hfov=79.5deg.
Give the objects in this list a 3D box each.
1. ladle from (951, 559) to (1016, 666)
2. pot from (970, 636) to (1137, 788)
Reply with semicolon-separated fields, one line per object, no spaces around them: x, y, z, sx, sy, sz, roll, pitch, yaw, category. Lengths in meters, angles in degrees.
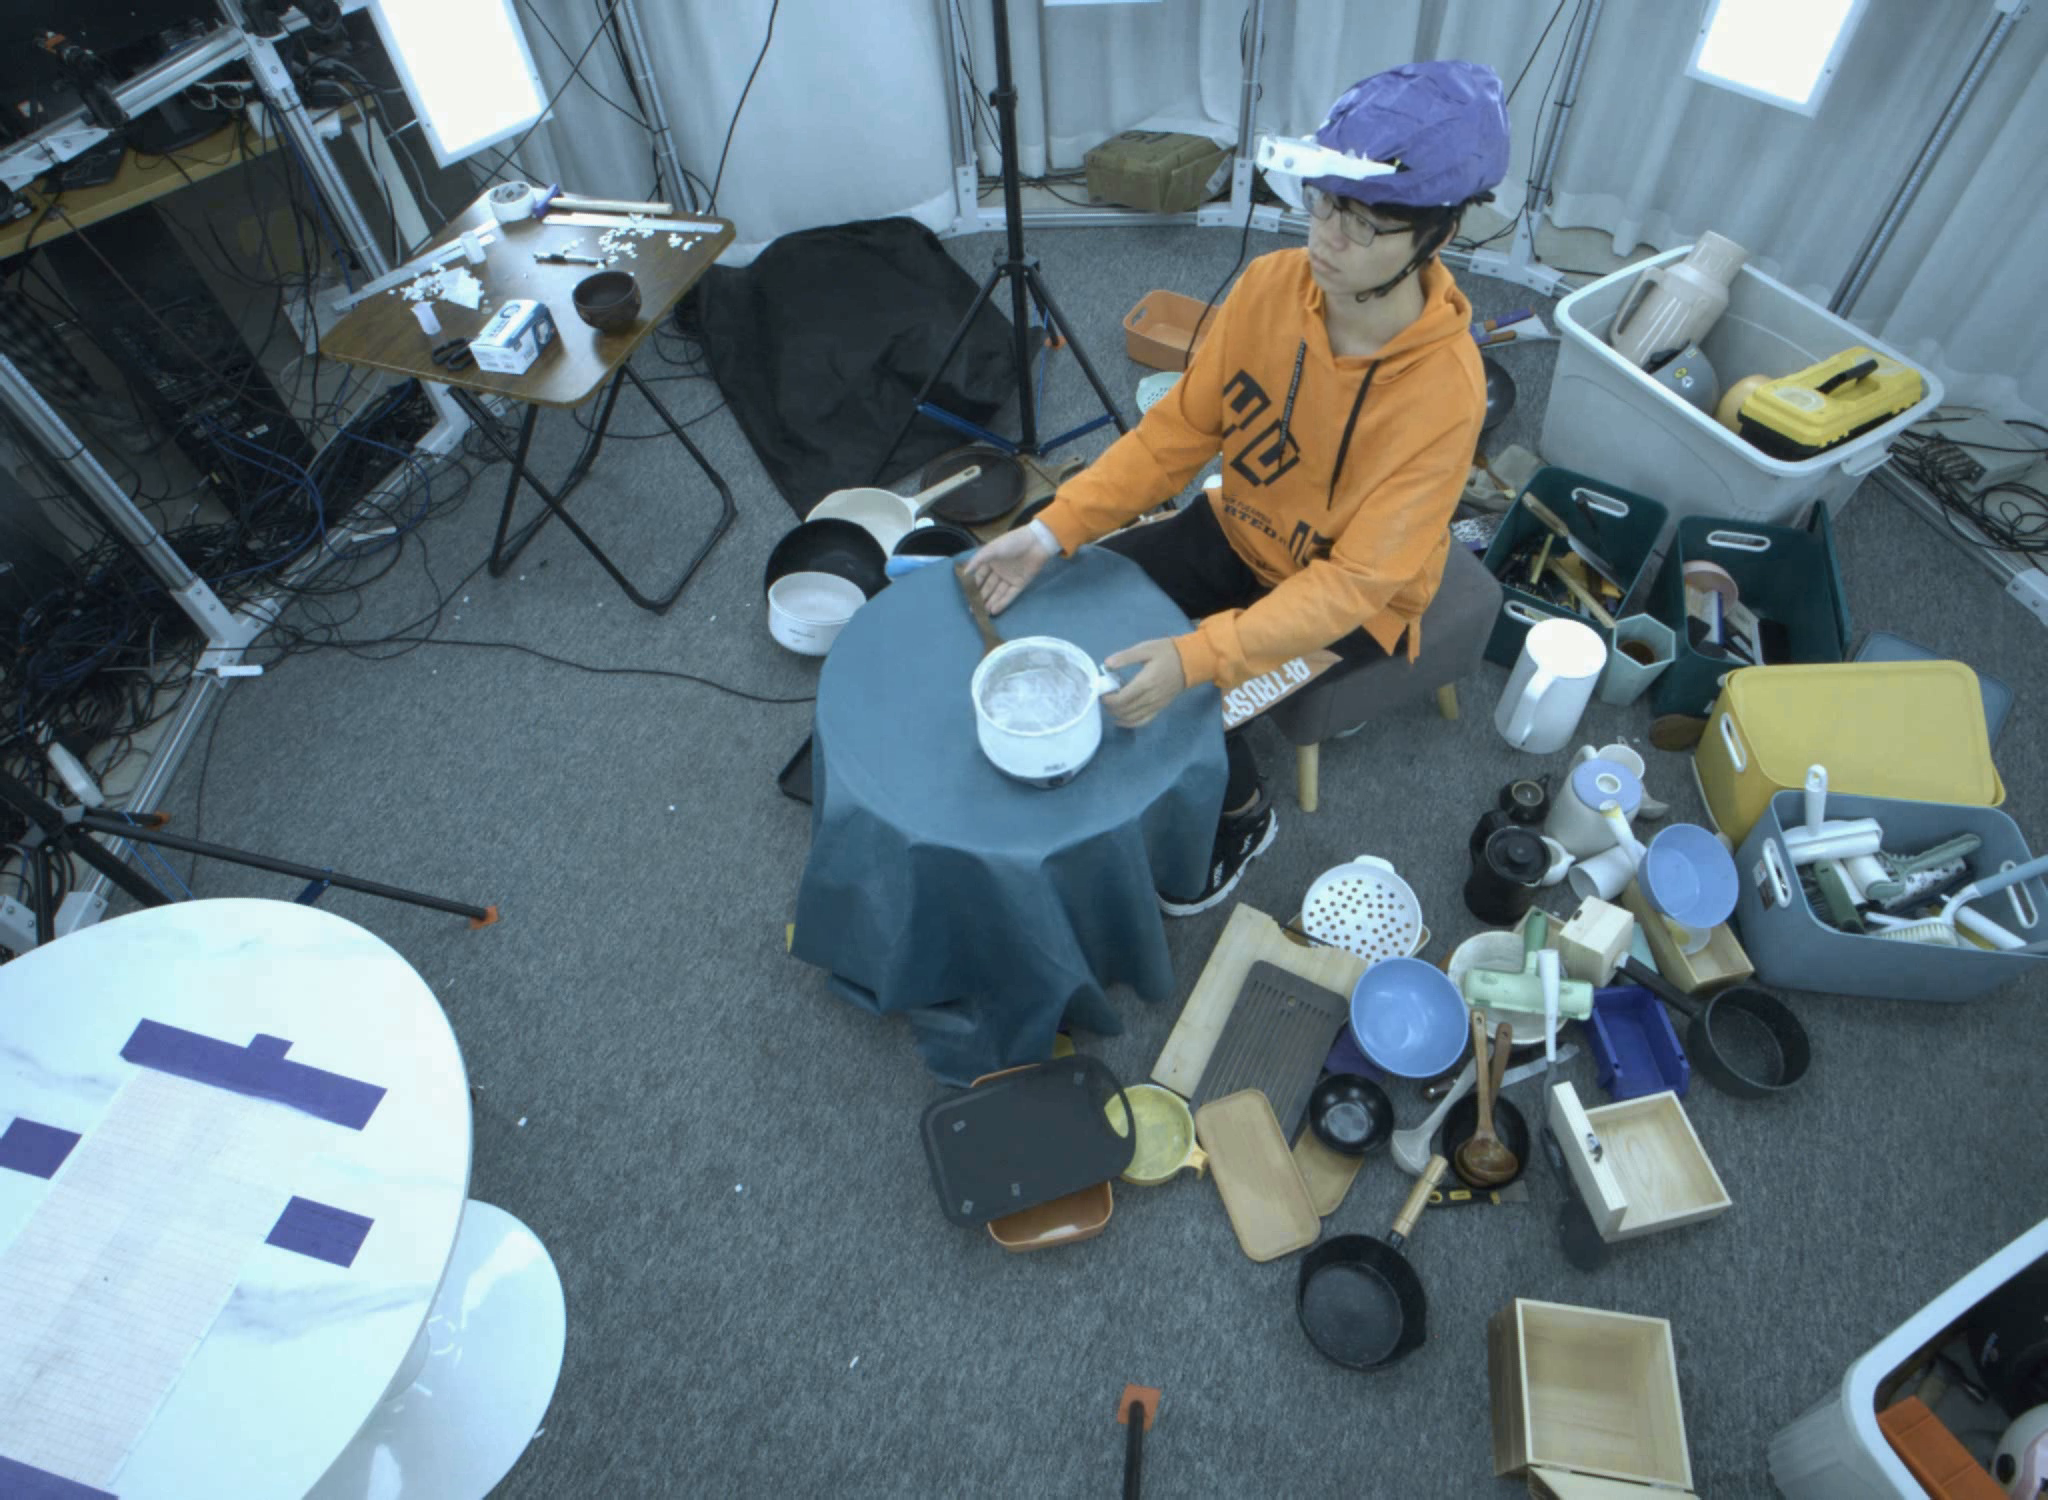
-0.069;-0.224;1.905;0.076;0.072;0.269;-17;57;-8;ladle
0.046;-0.060;1.743;0.235;0.138;0.176;-15;56;-7;pot
